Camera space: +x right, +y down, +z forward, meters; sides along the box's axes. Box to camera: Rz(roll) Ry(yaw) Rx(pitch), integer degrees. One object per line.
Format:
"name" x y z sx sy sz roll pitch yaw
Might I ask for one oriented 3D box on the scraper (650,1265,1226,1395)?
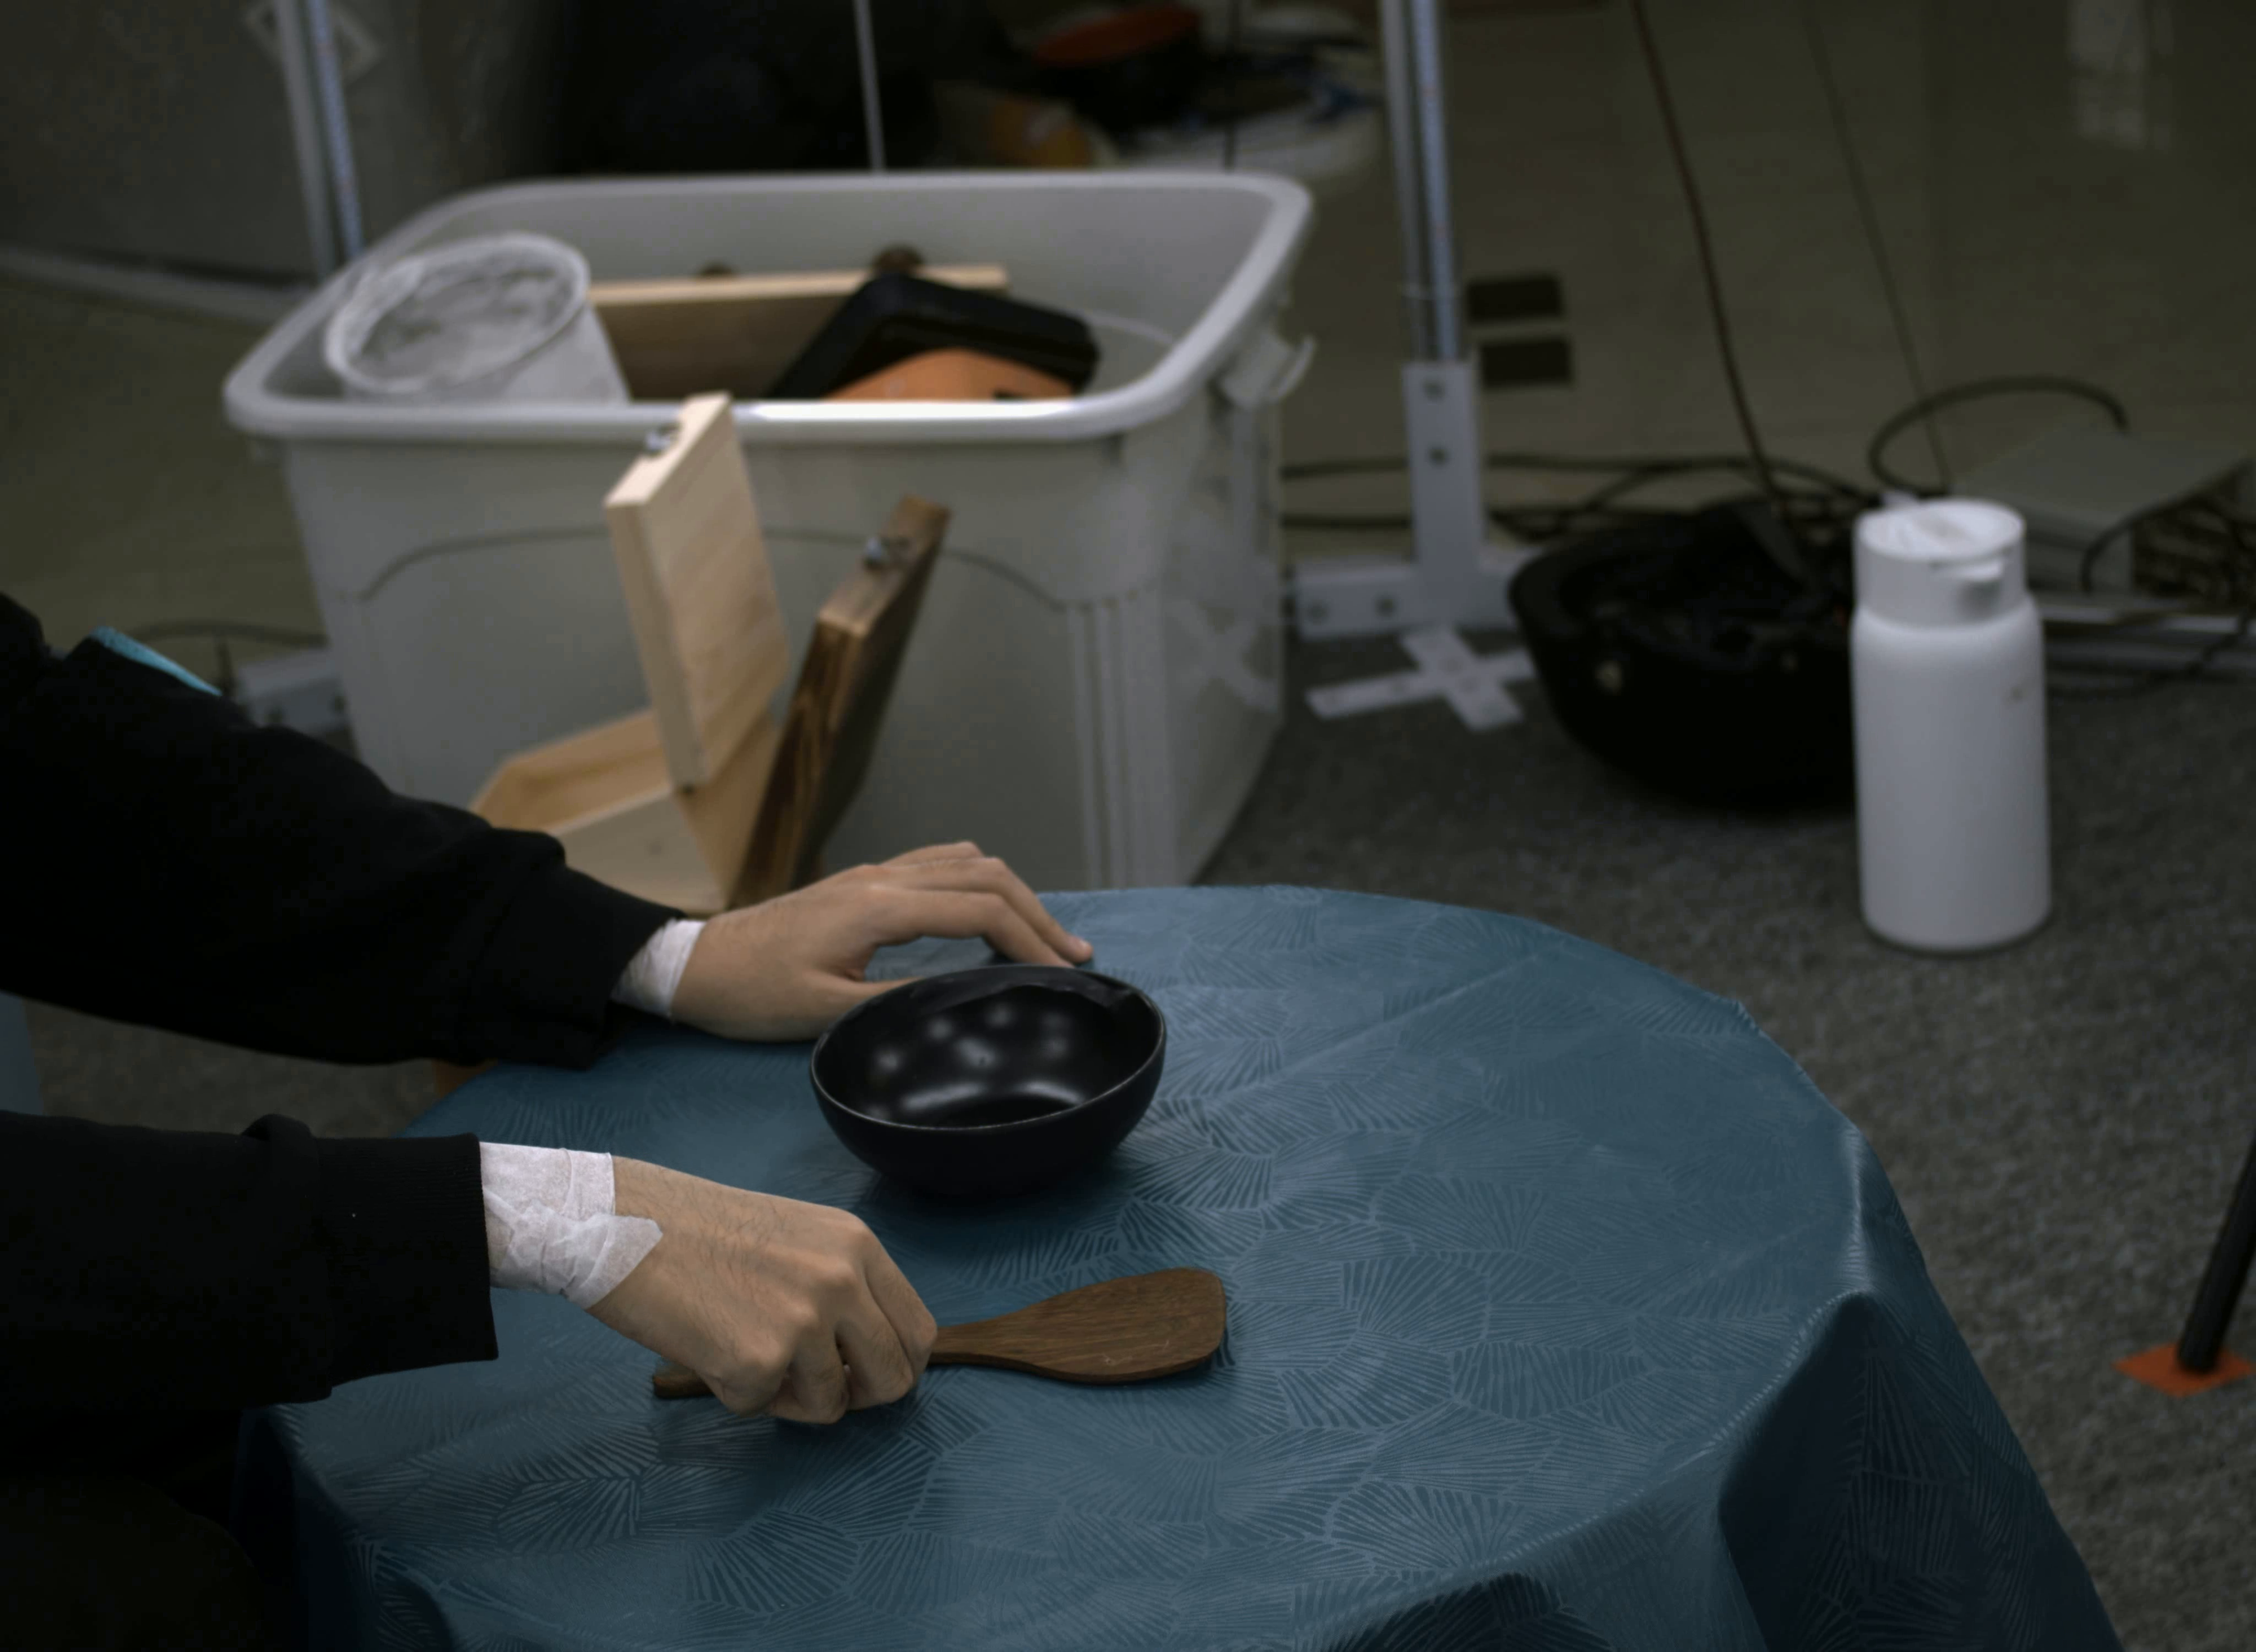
"scraper" -0.069 0.189 2.054 0.211 0.011 0.075 -6 23 3

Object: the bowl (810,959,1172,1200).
"bowl" -0.051 0.105 2.179 0.140 0.050 0.138 -4 28 2
